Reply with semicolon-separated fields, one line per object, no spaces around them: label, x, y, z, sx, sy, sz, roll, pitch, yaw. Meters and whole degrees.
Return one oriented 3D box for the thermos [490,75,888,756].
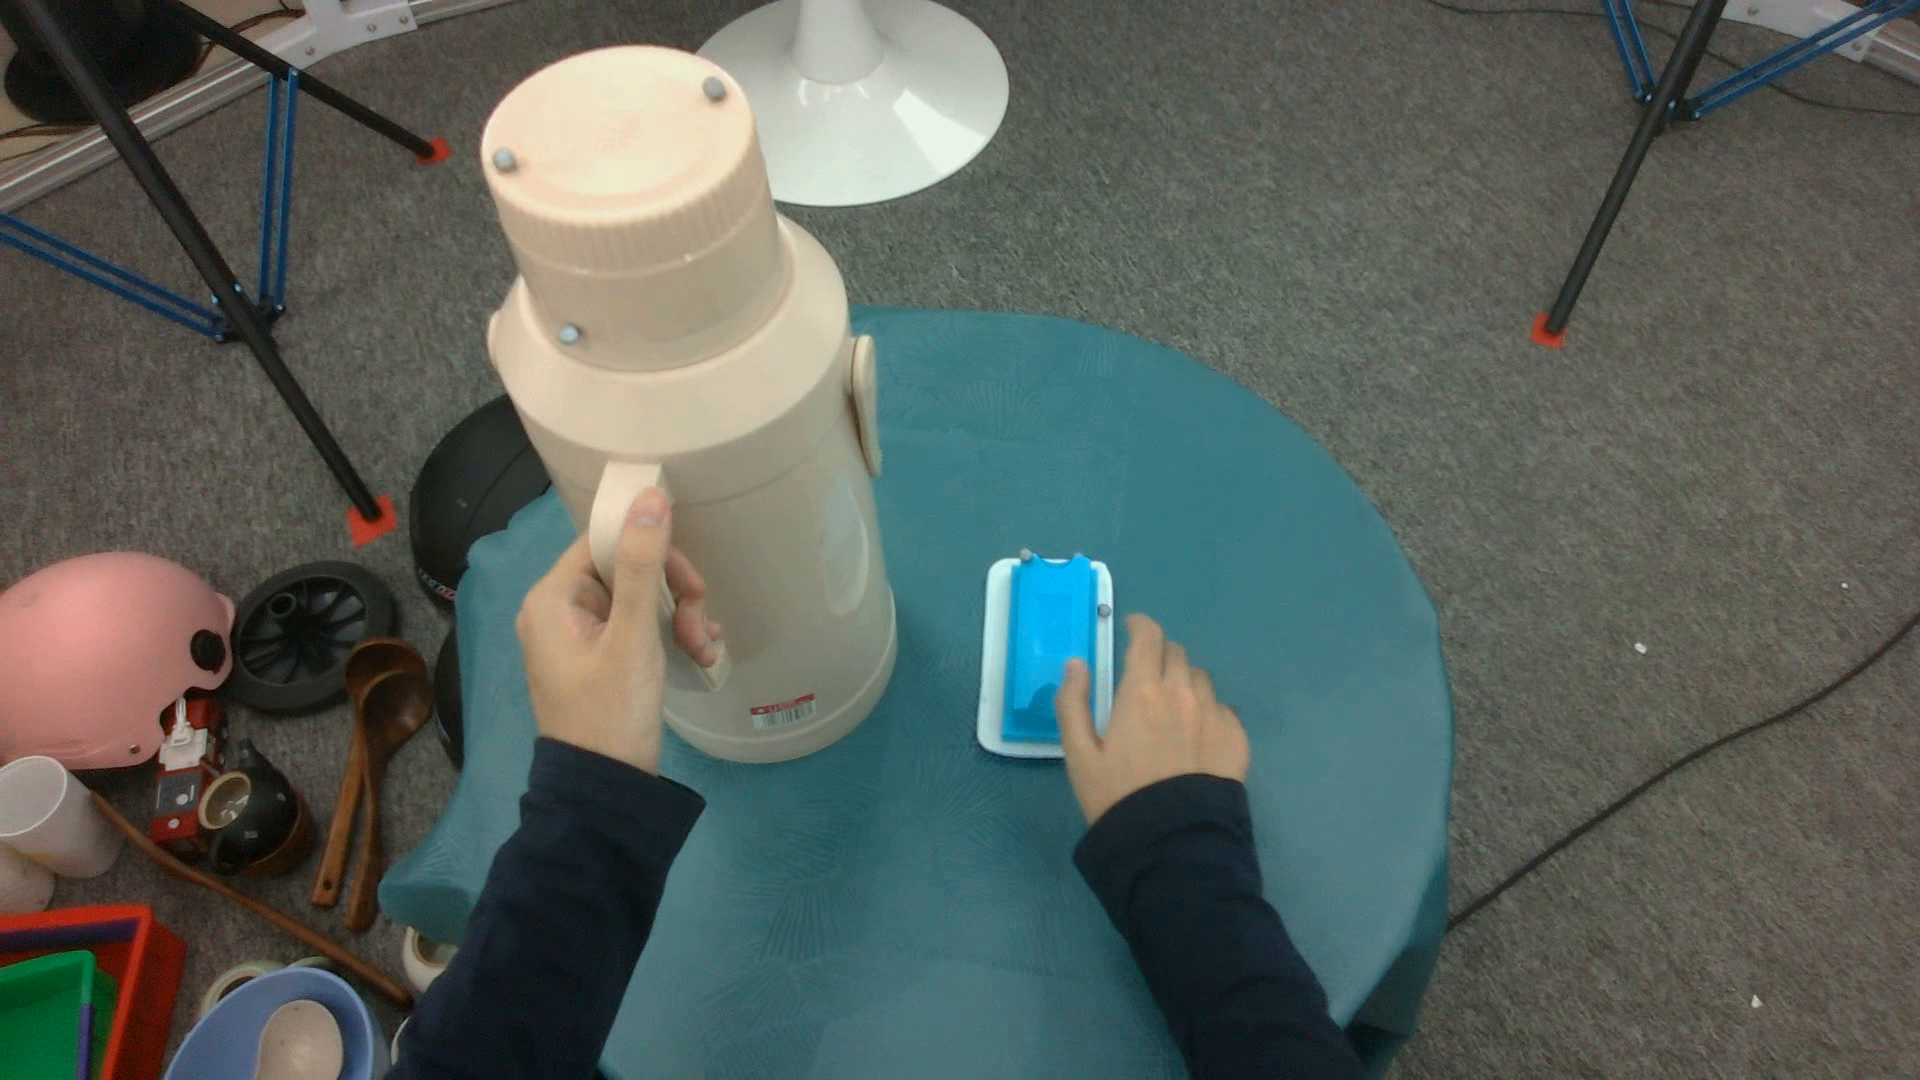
thermos;-0.132;-0.030;0.706;0.175;0.404;0.208;4;57;3

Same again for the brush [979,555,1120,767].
brush;0.055;0.066;0.833;0.084;0.055;0.144;0;51;8
